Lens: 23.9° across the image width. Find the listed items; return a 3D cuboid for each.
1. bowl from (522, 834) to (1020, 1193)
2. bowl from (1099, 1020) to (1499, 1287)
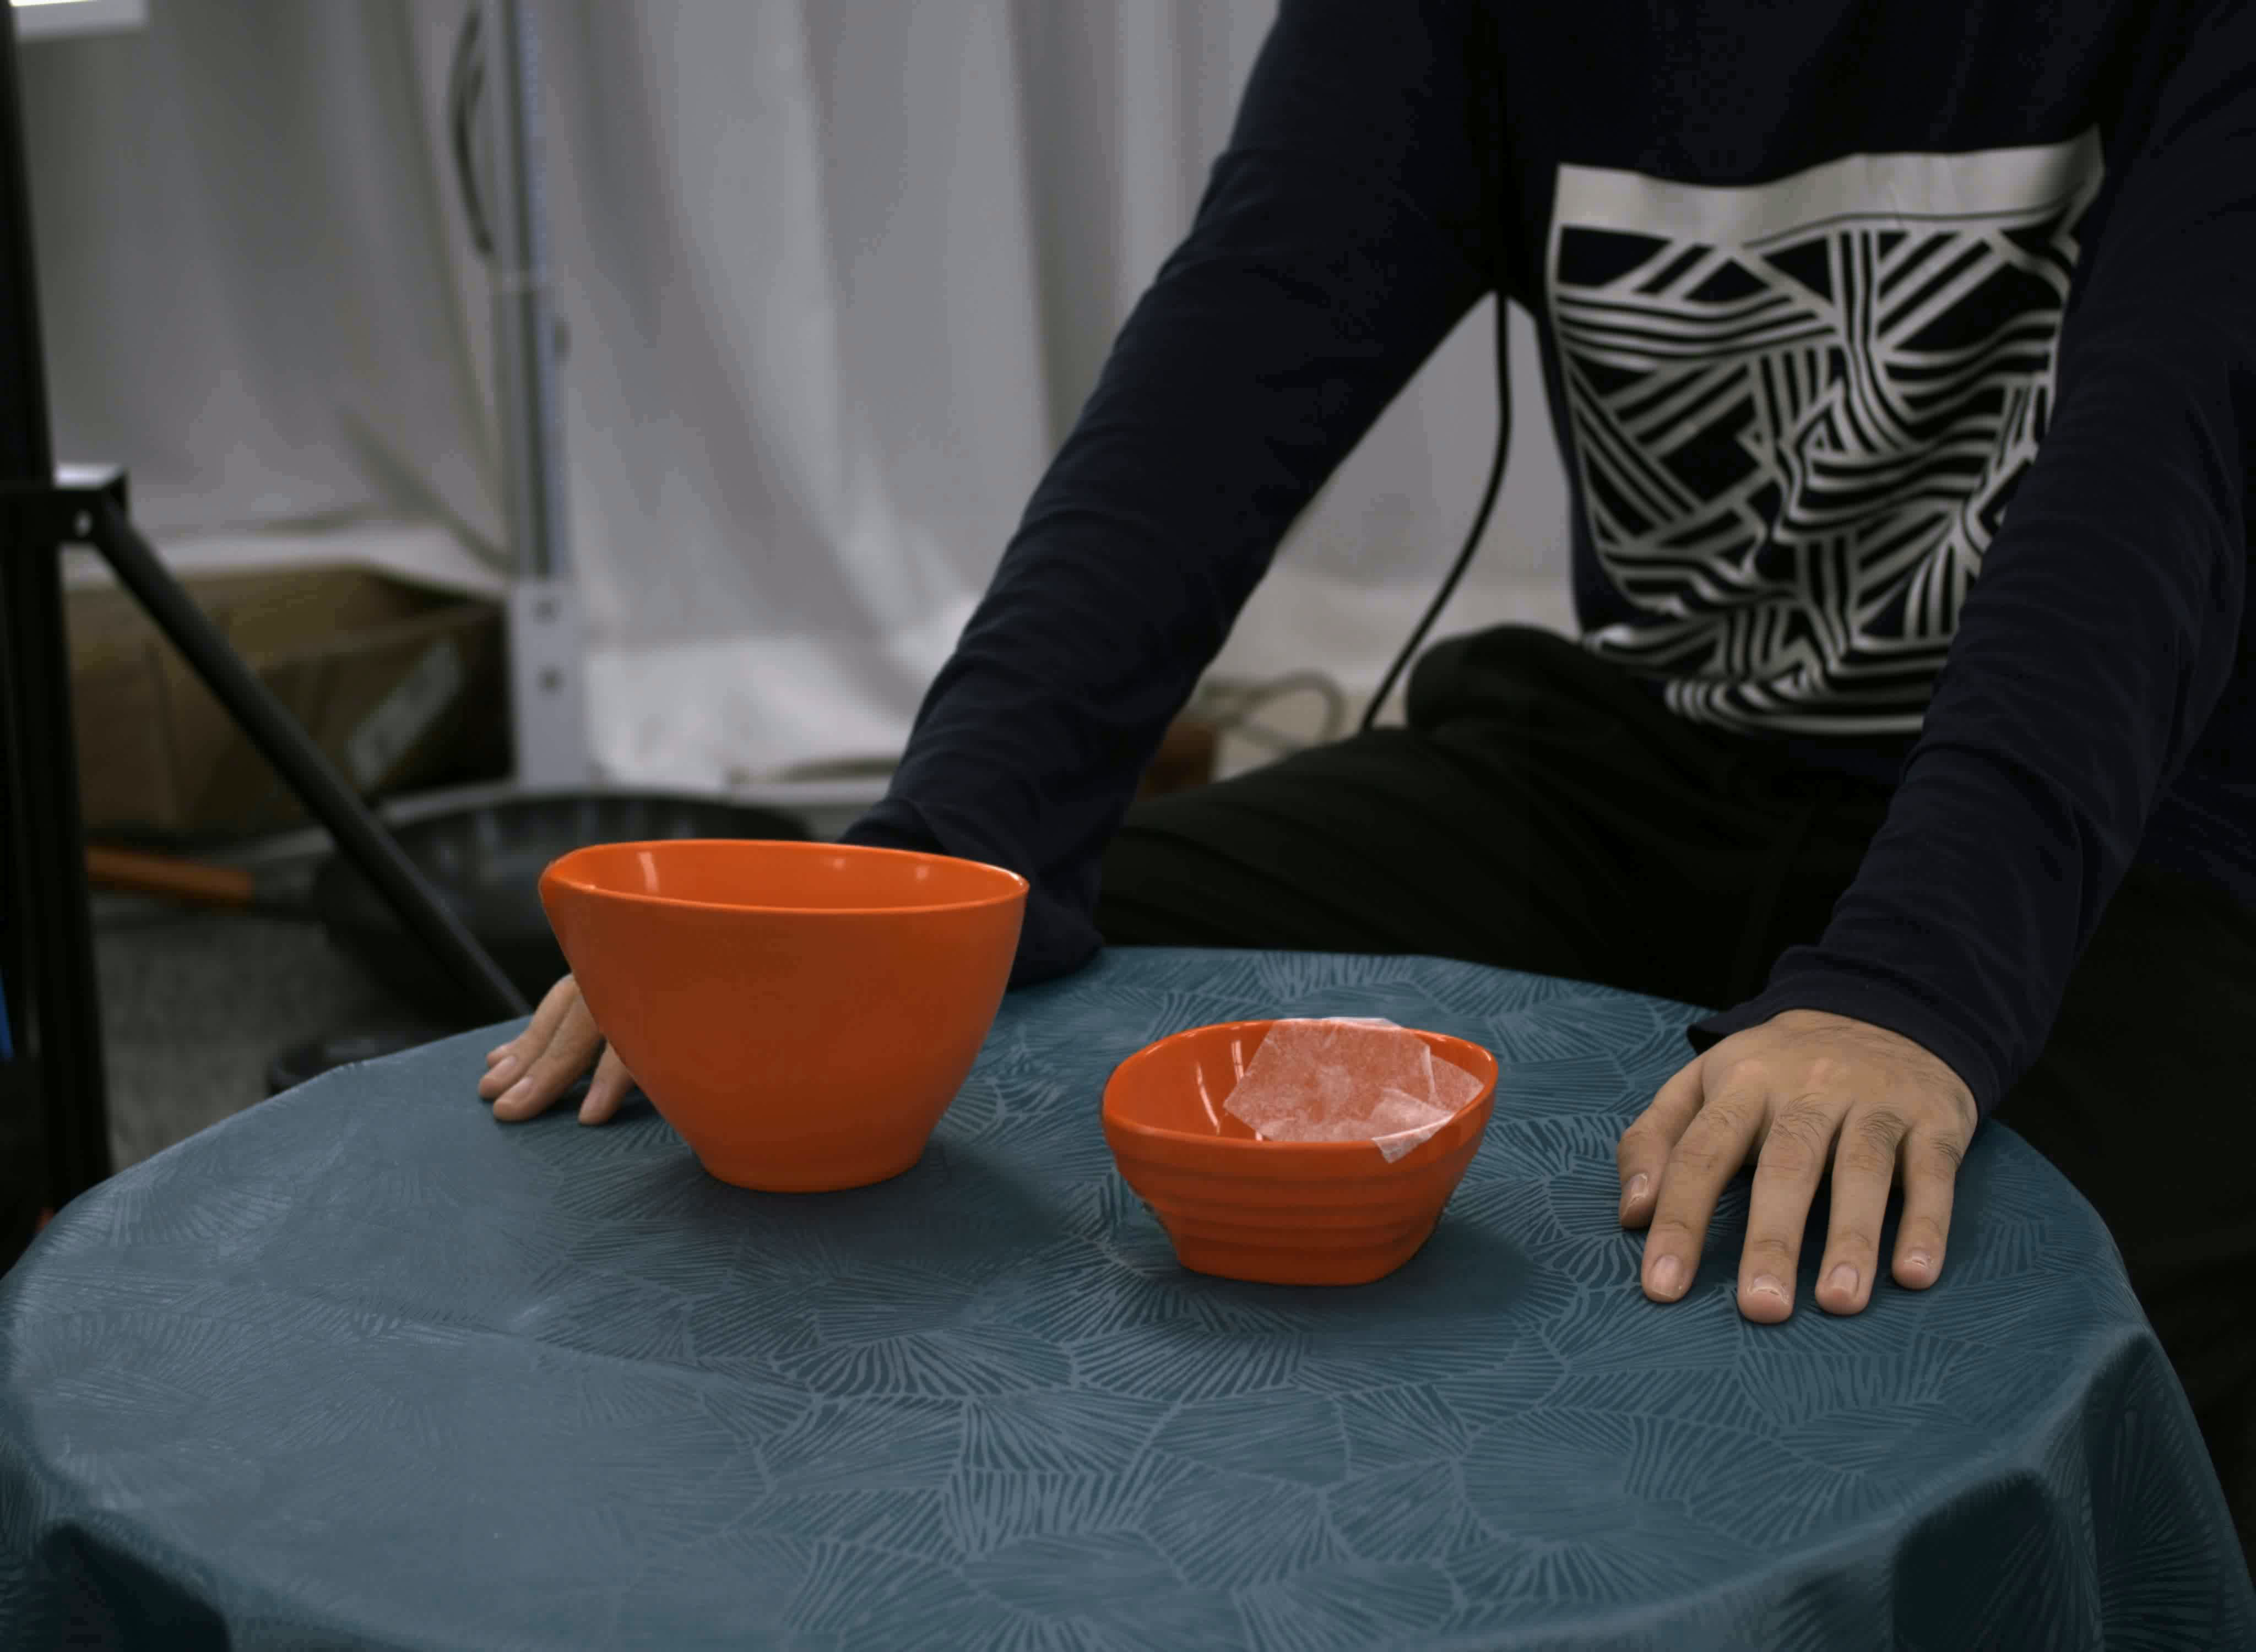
[{"bbox_3d":[-0.103,0.053,1.586,0.147,0.104,0.149,-3,15,-1],"label":"bowl"},{"bbox_3d":[0.050,0.095,1.506,0.118,0.051,0.119,-4,15,0],"label":"bowl"}]
